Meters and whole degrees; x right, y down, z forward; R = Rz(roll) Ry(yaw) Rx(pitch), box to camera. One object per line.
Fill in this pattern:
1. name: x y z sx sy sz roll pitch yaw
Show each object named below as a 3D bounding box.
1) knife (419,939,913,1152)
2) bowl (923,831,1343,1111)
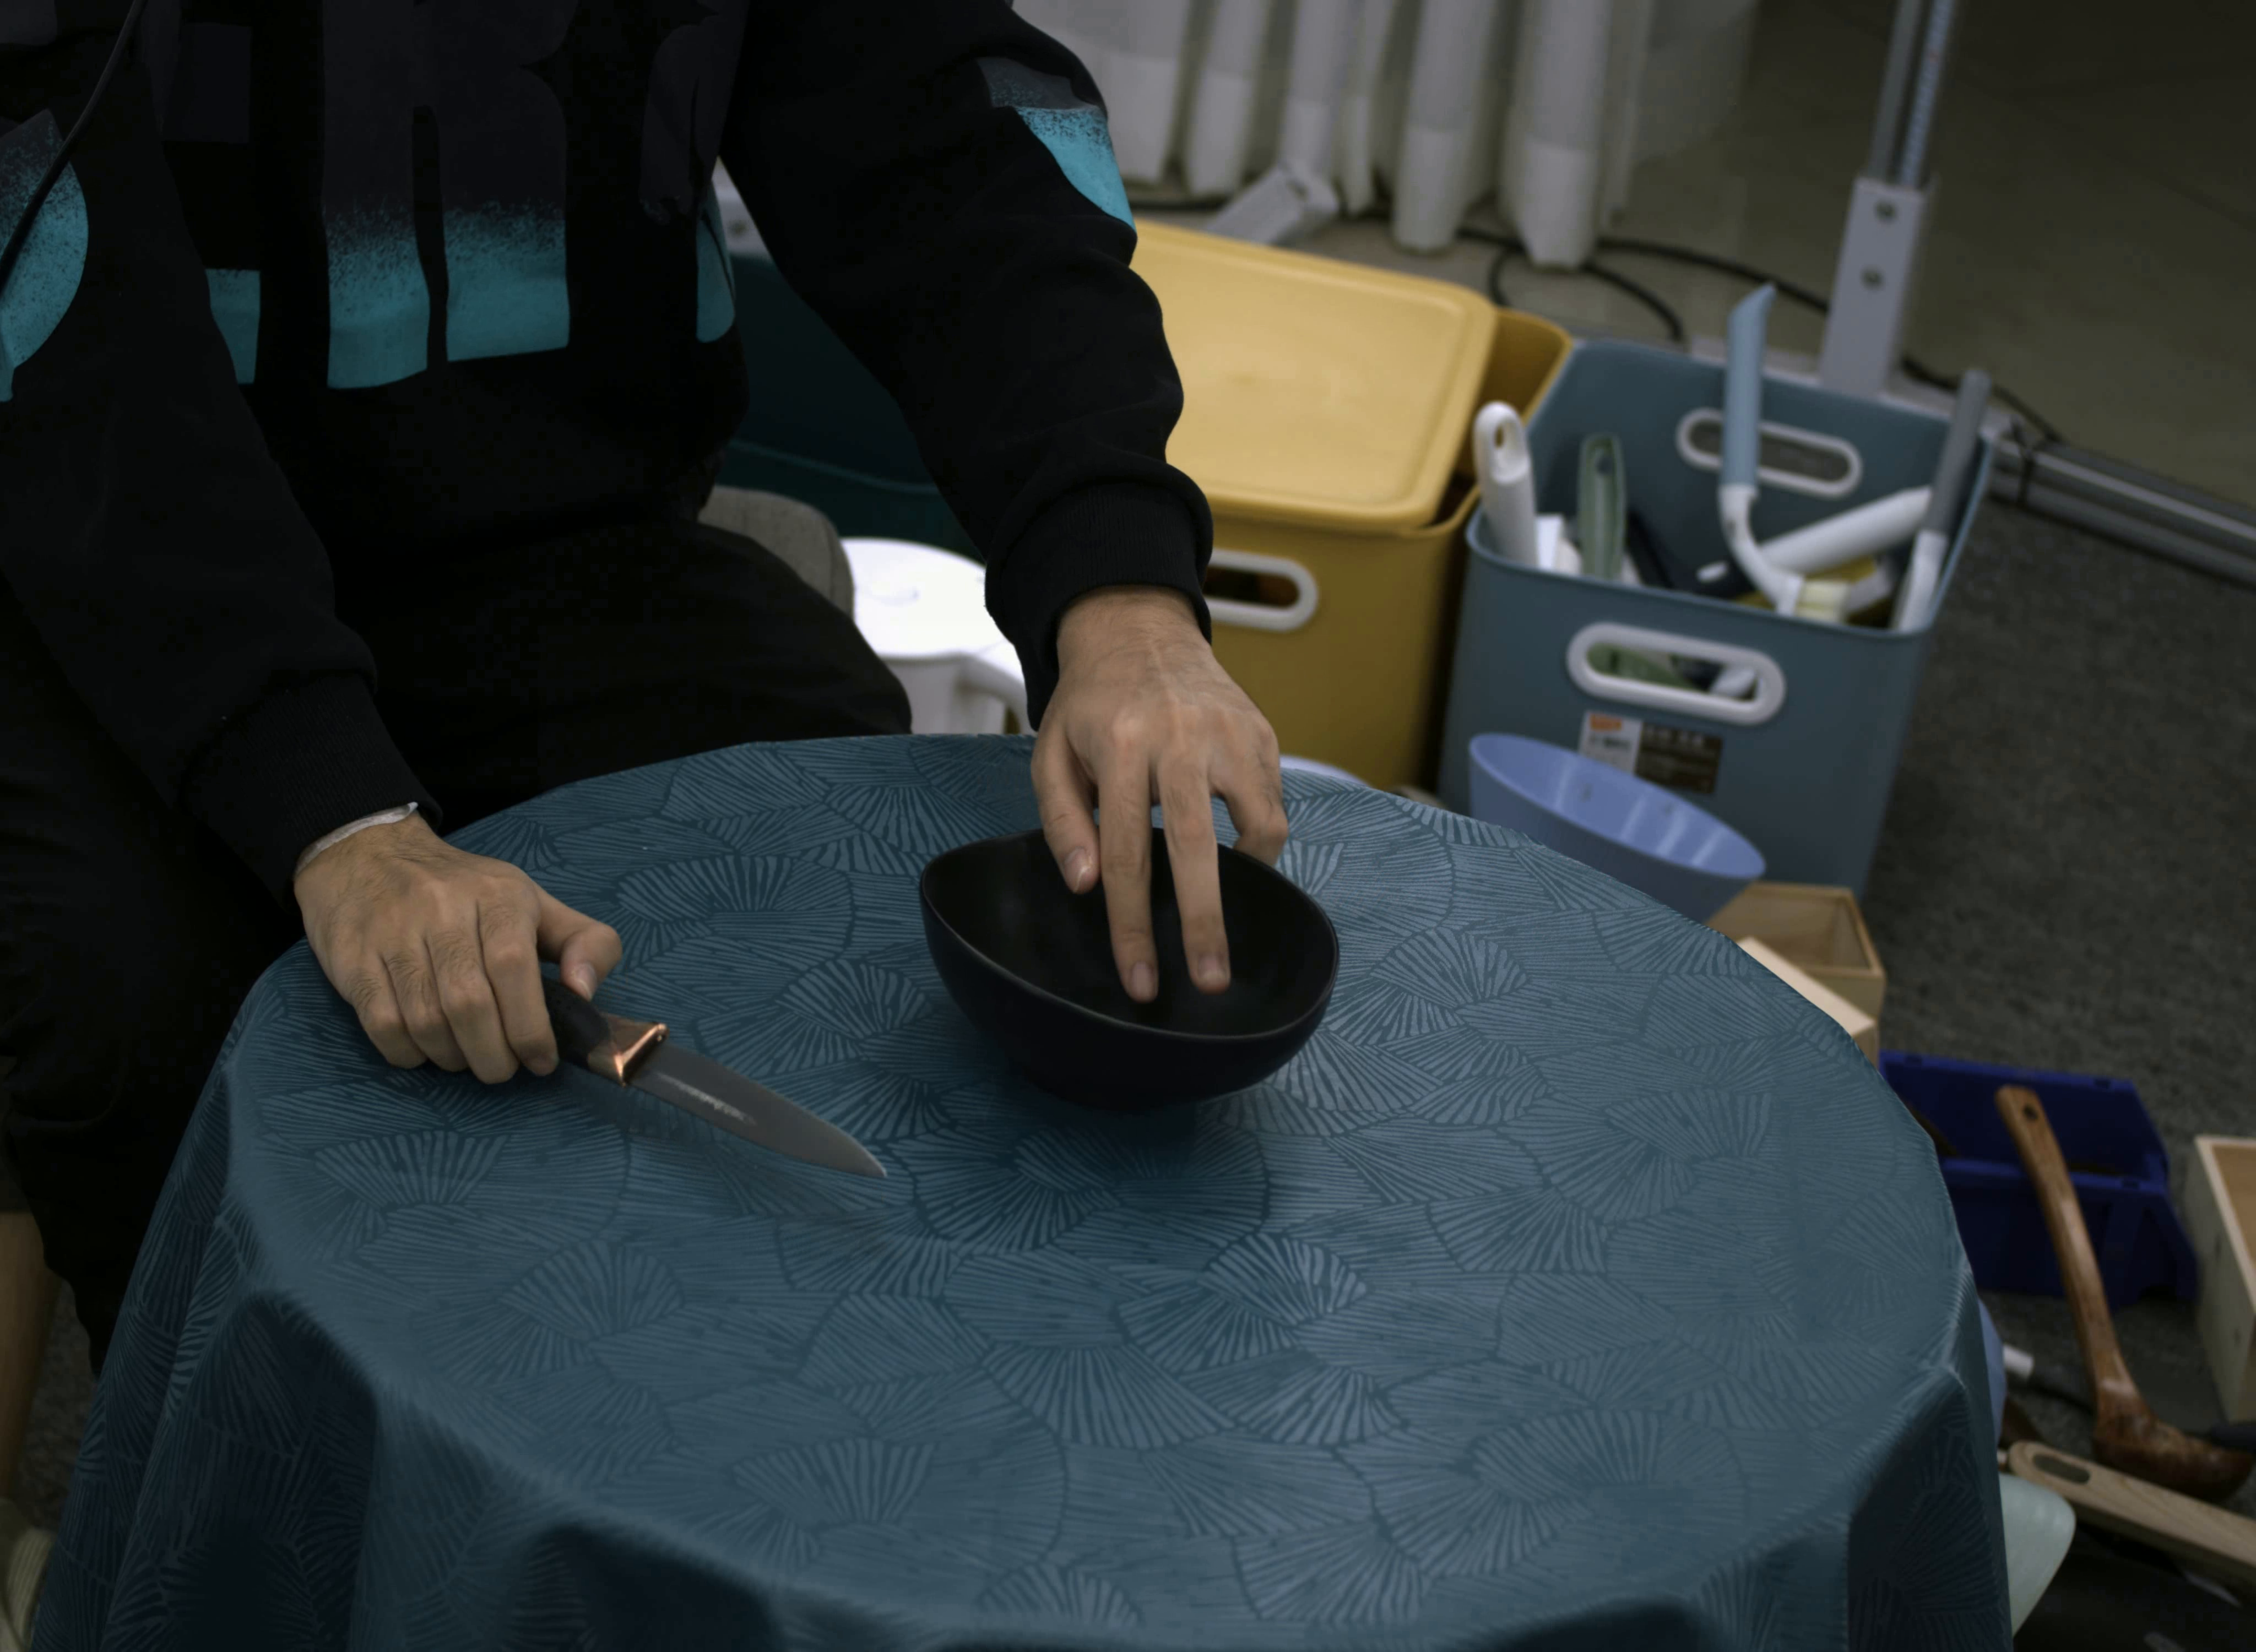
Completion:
1. knife: -0.159 0.078 1.802 0.227 0.017 0.026 20 68 36
2. bowl: -0.003 0.057 1.862 0.136 0.066 0.172 -12 31 -34
